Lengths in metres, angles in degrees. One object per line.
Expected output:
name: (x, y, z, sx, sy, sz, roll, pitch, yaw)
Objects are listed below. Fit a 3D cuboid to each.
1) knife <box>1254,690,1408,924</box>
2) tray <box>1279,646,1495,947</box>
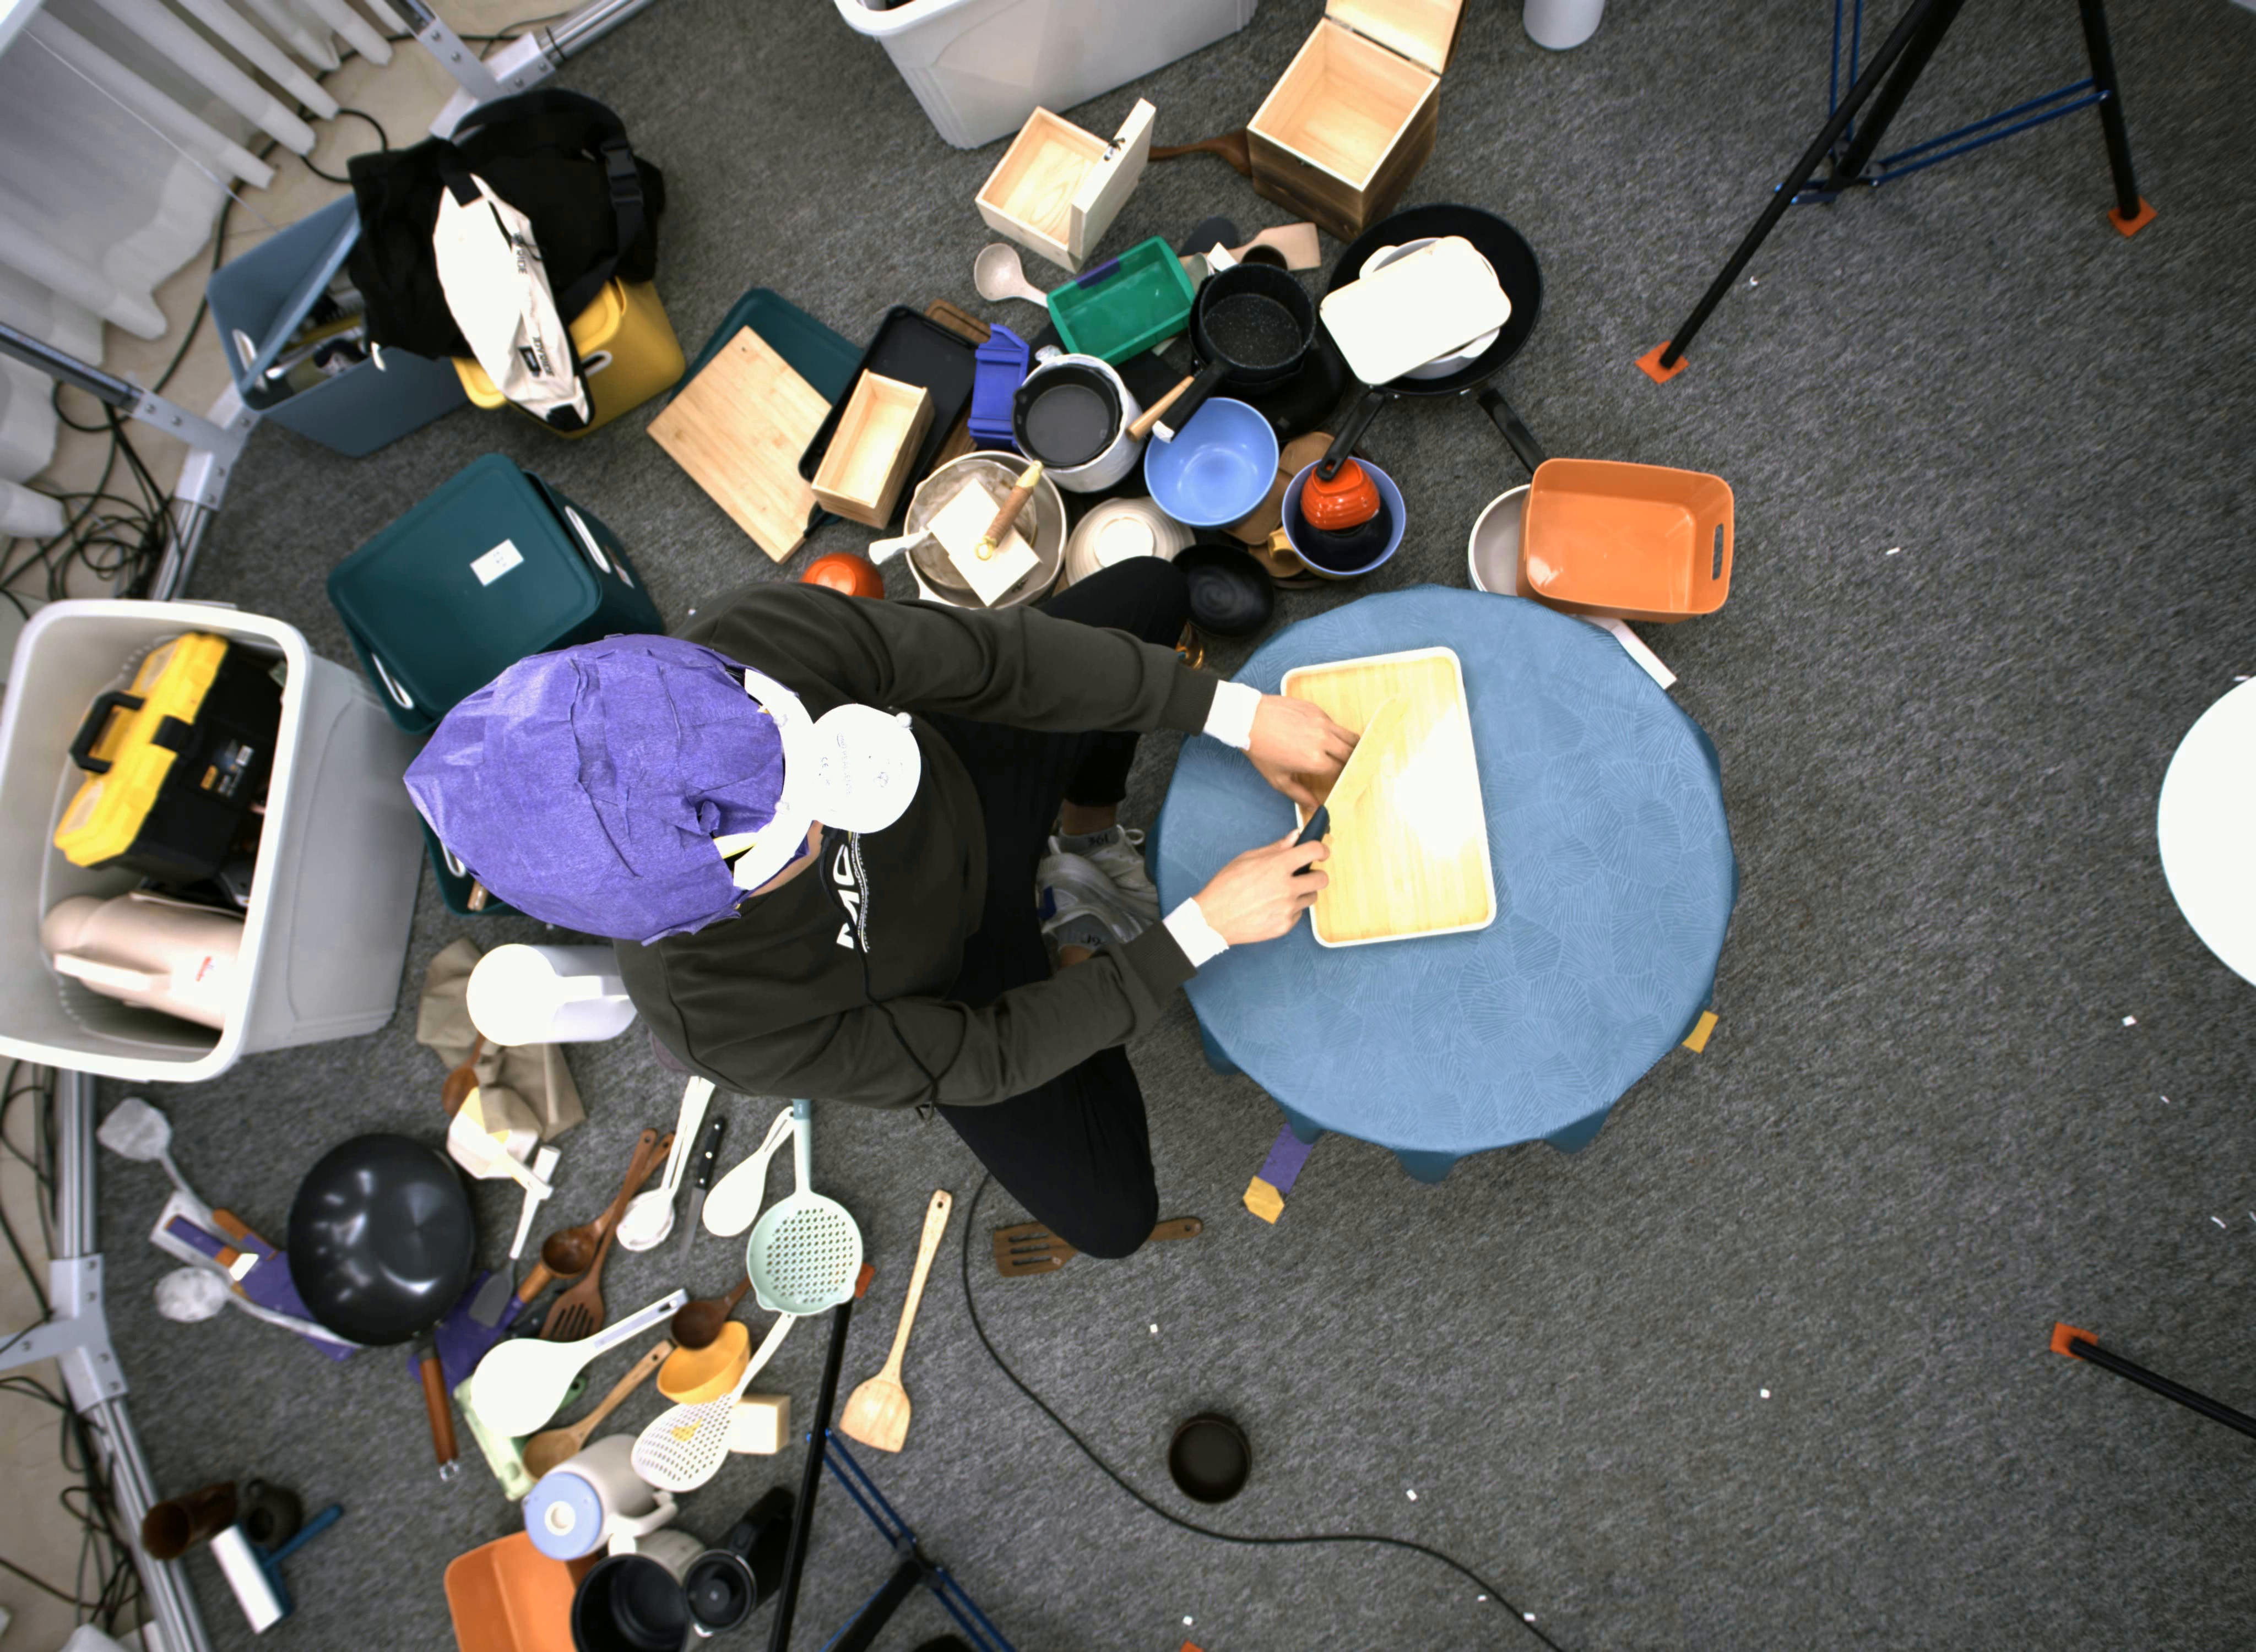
knife: (0.214, -0.022, 1.419, 0.027, 0.082, 0.288, 30, 86, 32)
tray: (0.271, -0.032, 1.452, 0.192, 0.027, 0.298, -8, 85, 11)
